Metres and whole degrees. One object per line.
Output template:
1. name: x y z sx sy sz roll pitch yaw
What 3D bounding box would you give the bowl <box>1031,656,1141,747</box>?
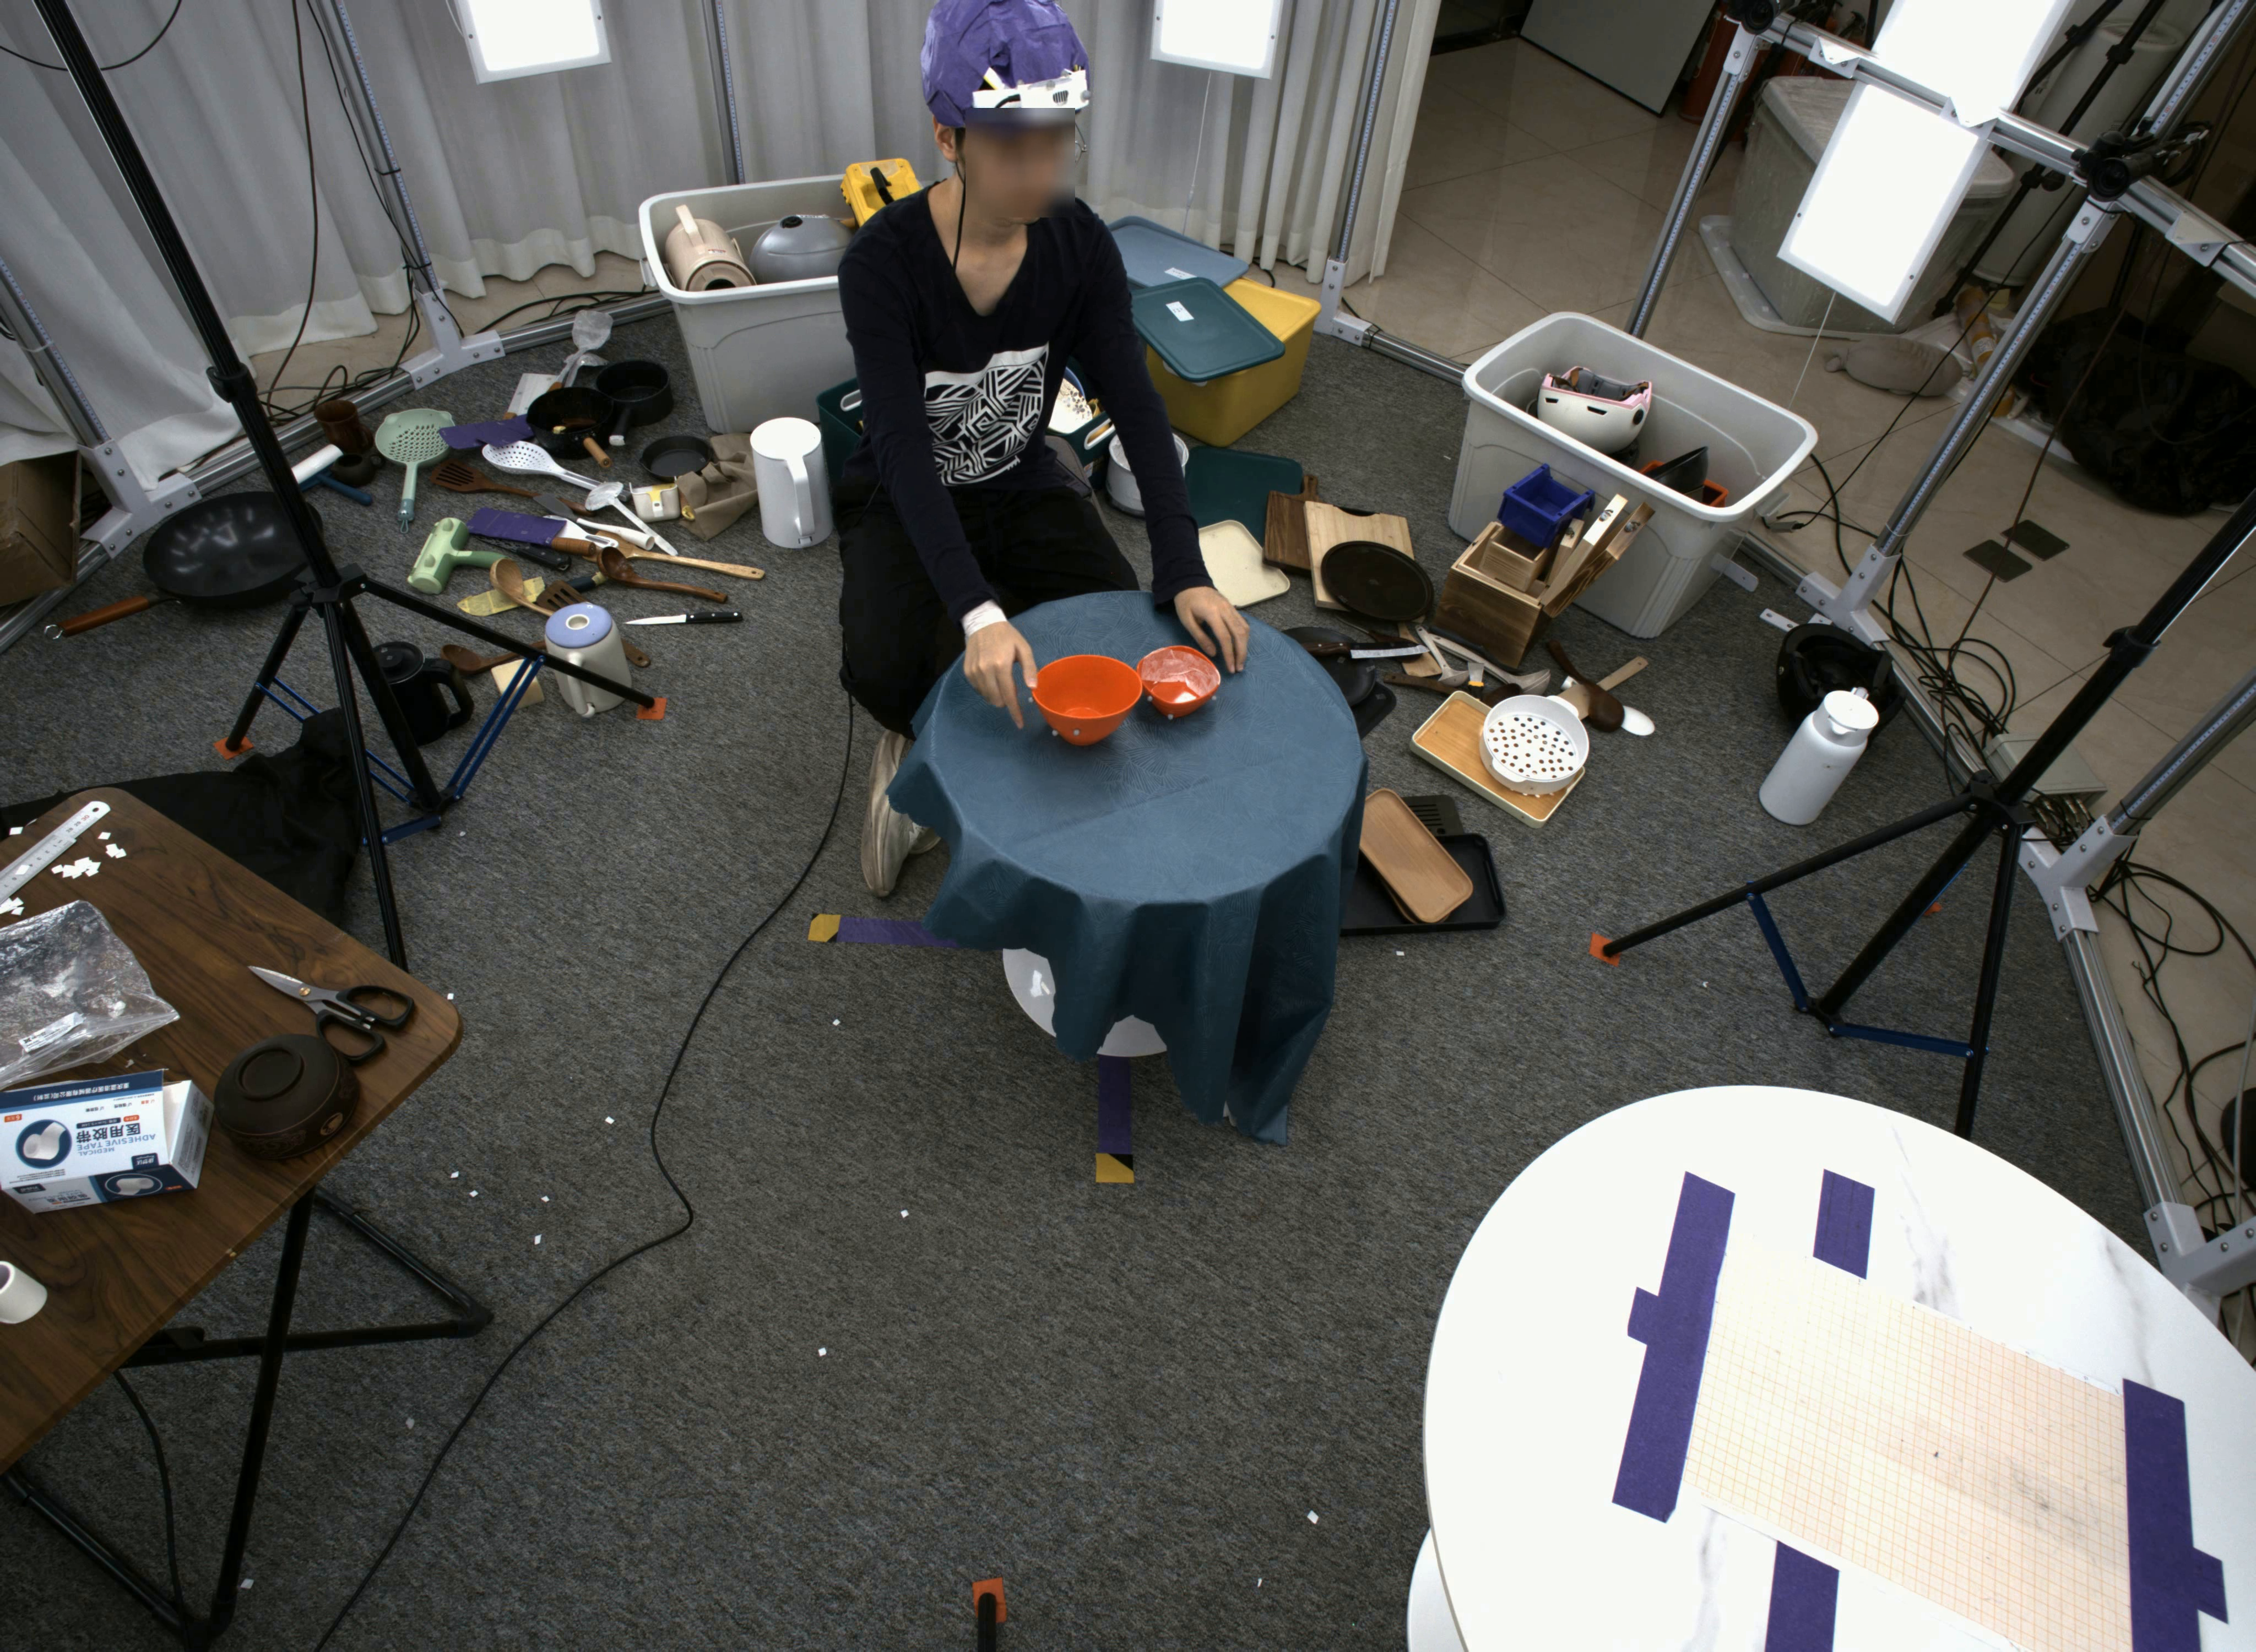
1. bowl: -0.058 -0.158 1.737 0.148 0.102 0.152 1 48 -2

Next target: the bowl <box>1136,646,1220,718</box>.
1. bowl: 0.069 -0.198 1.812 0.119 0.050 0.122 1 49 -1
